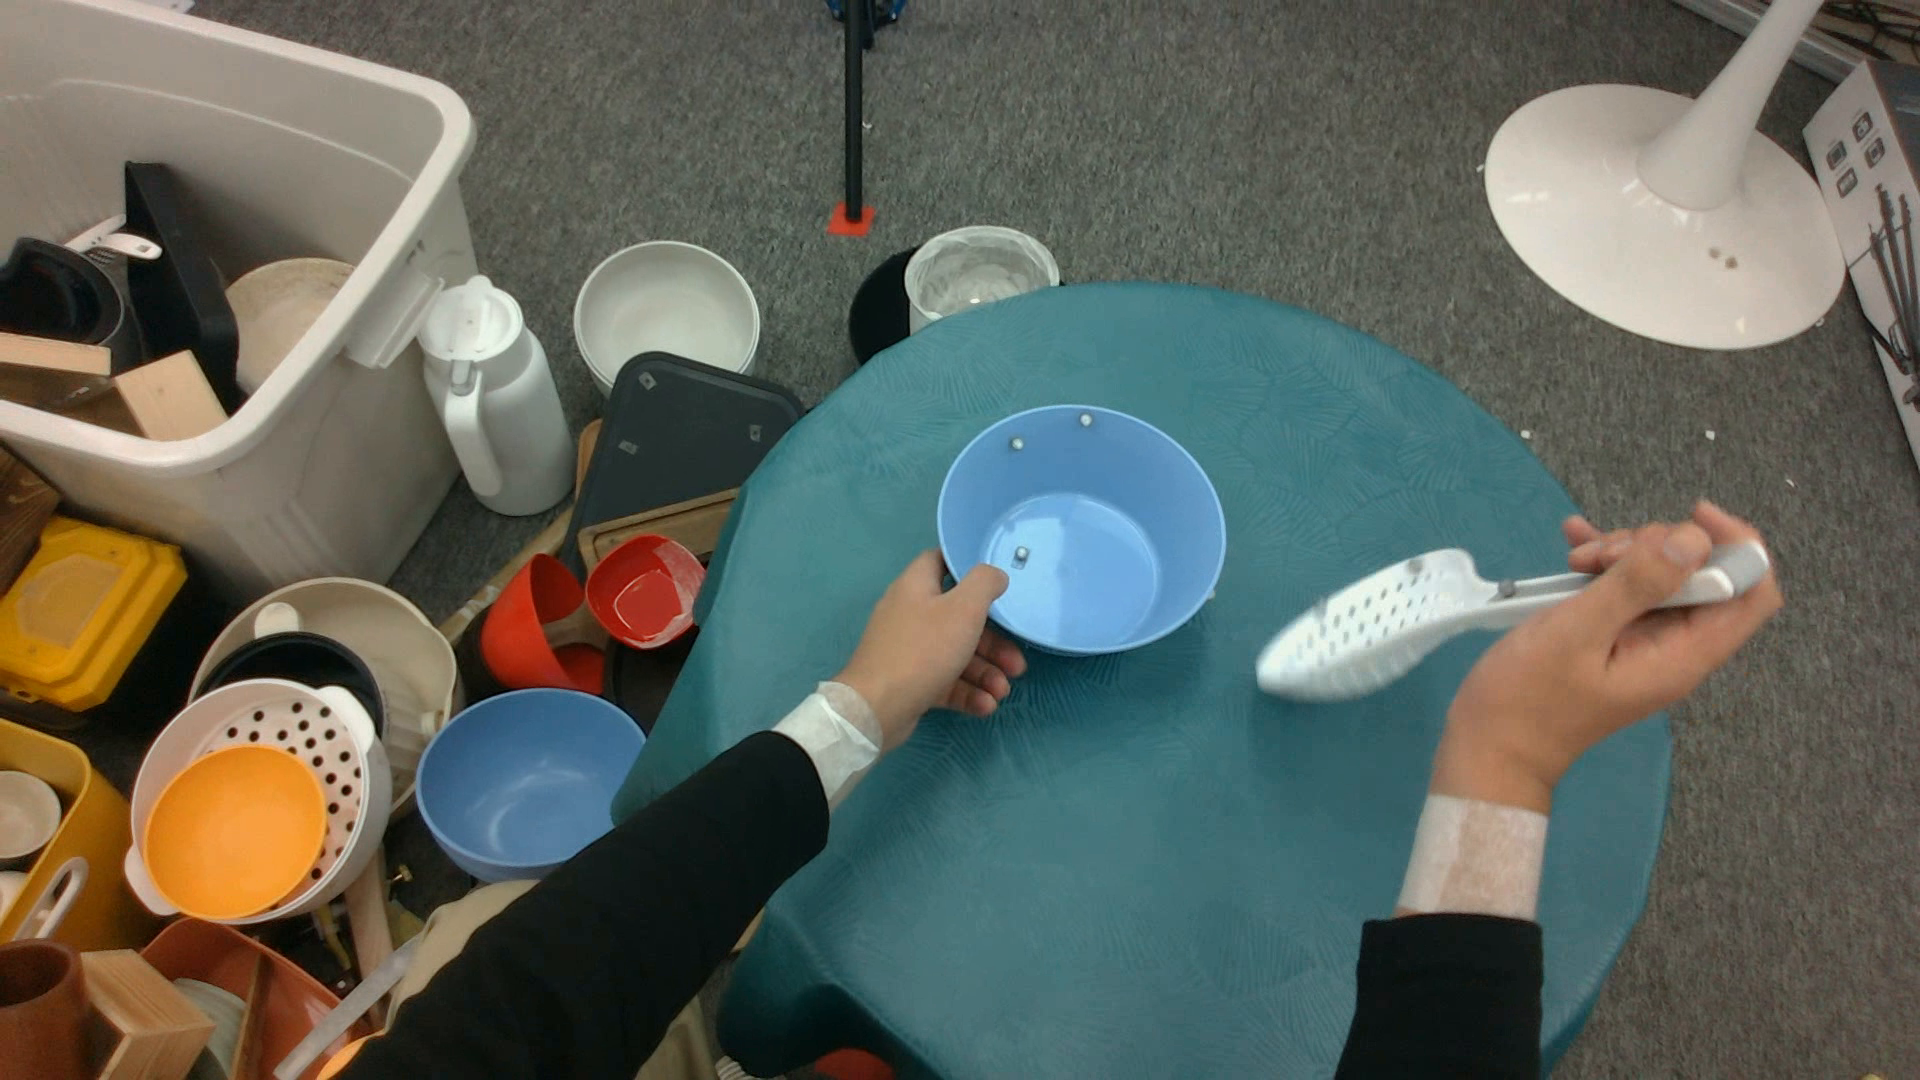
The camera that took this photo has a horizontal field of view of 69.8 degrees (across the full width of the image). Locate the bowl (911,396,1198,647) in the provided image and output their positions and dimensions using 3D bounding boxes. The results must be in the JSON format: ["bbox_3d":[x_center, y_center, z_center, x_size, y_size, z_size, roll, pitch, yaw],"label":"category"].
[{"bbox_3d":[0.055,0.000,0.858,0.176,0.070,0.177,2,59,-4],"label":"bowl"}]

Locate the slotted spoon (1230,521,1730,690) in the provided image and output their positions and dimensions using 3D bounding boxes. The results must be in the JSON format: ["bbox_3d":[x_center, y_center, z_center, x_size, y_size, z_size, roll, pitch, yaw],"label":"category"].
[{"bbox_3d":[0.251,0.030,0.711,0.136,0.348,0.046,-37,88,-19],"label":"slotted spoon"}]
